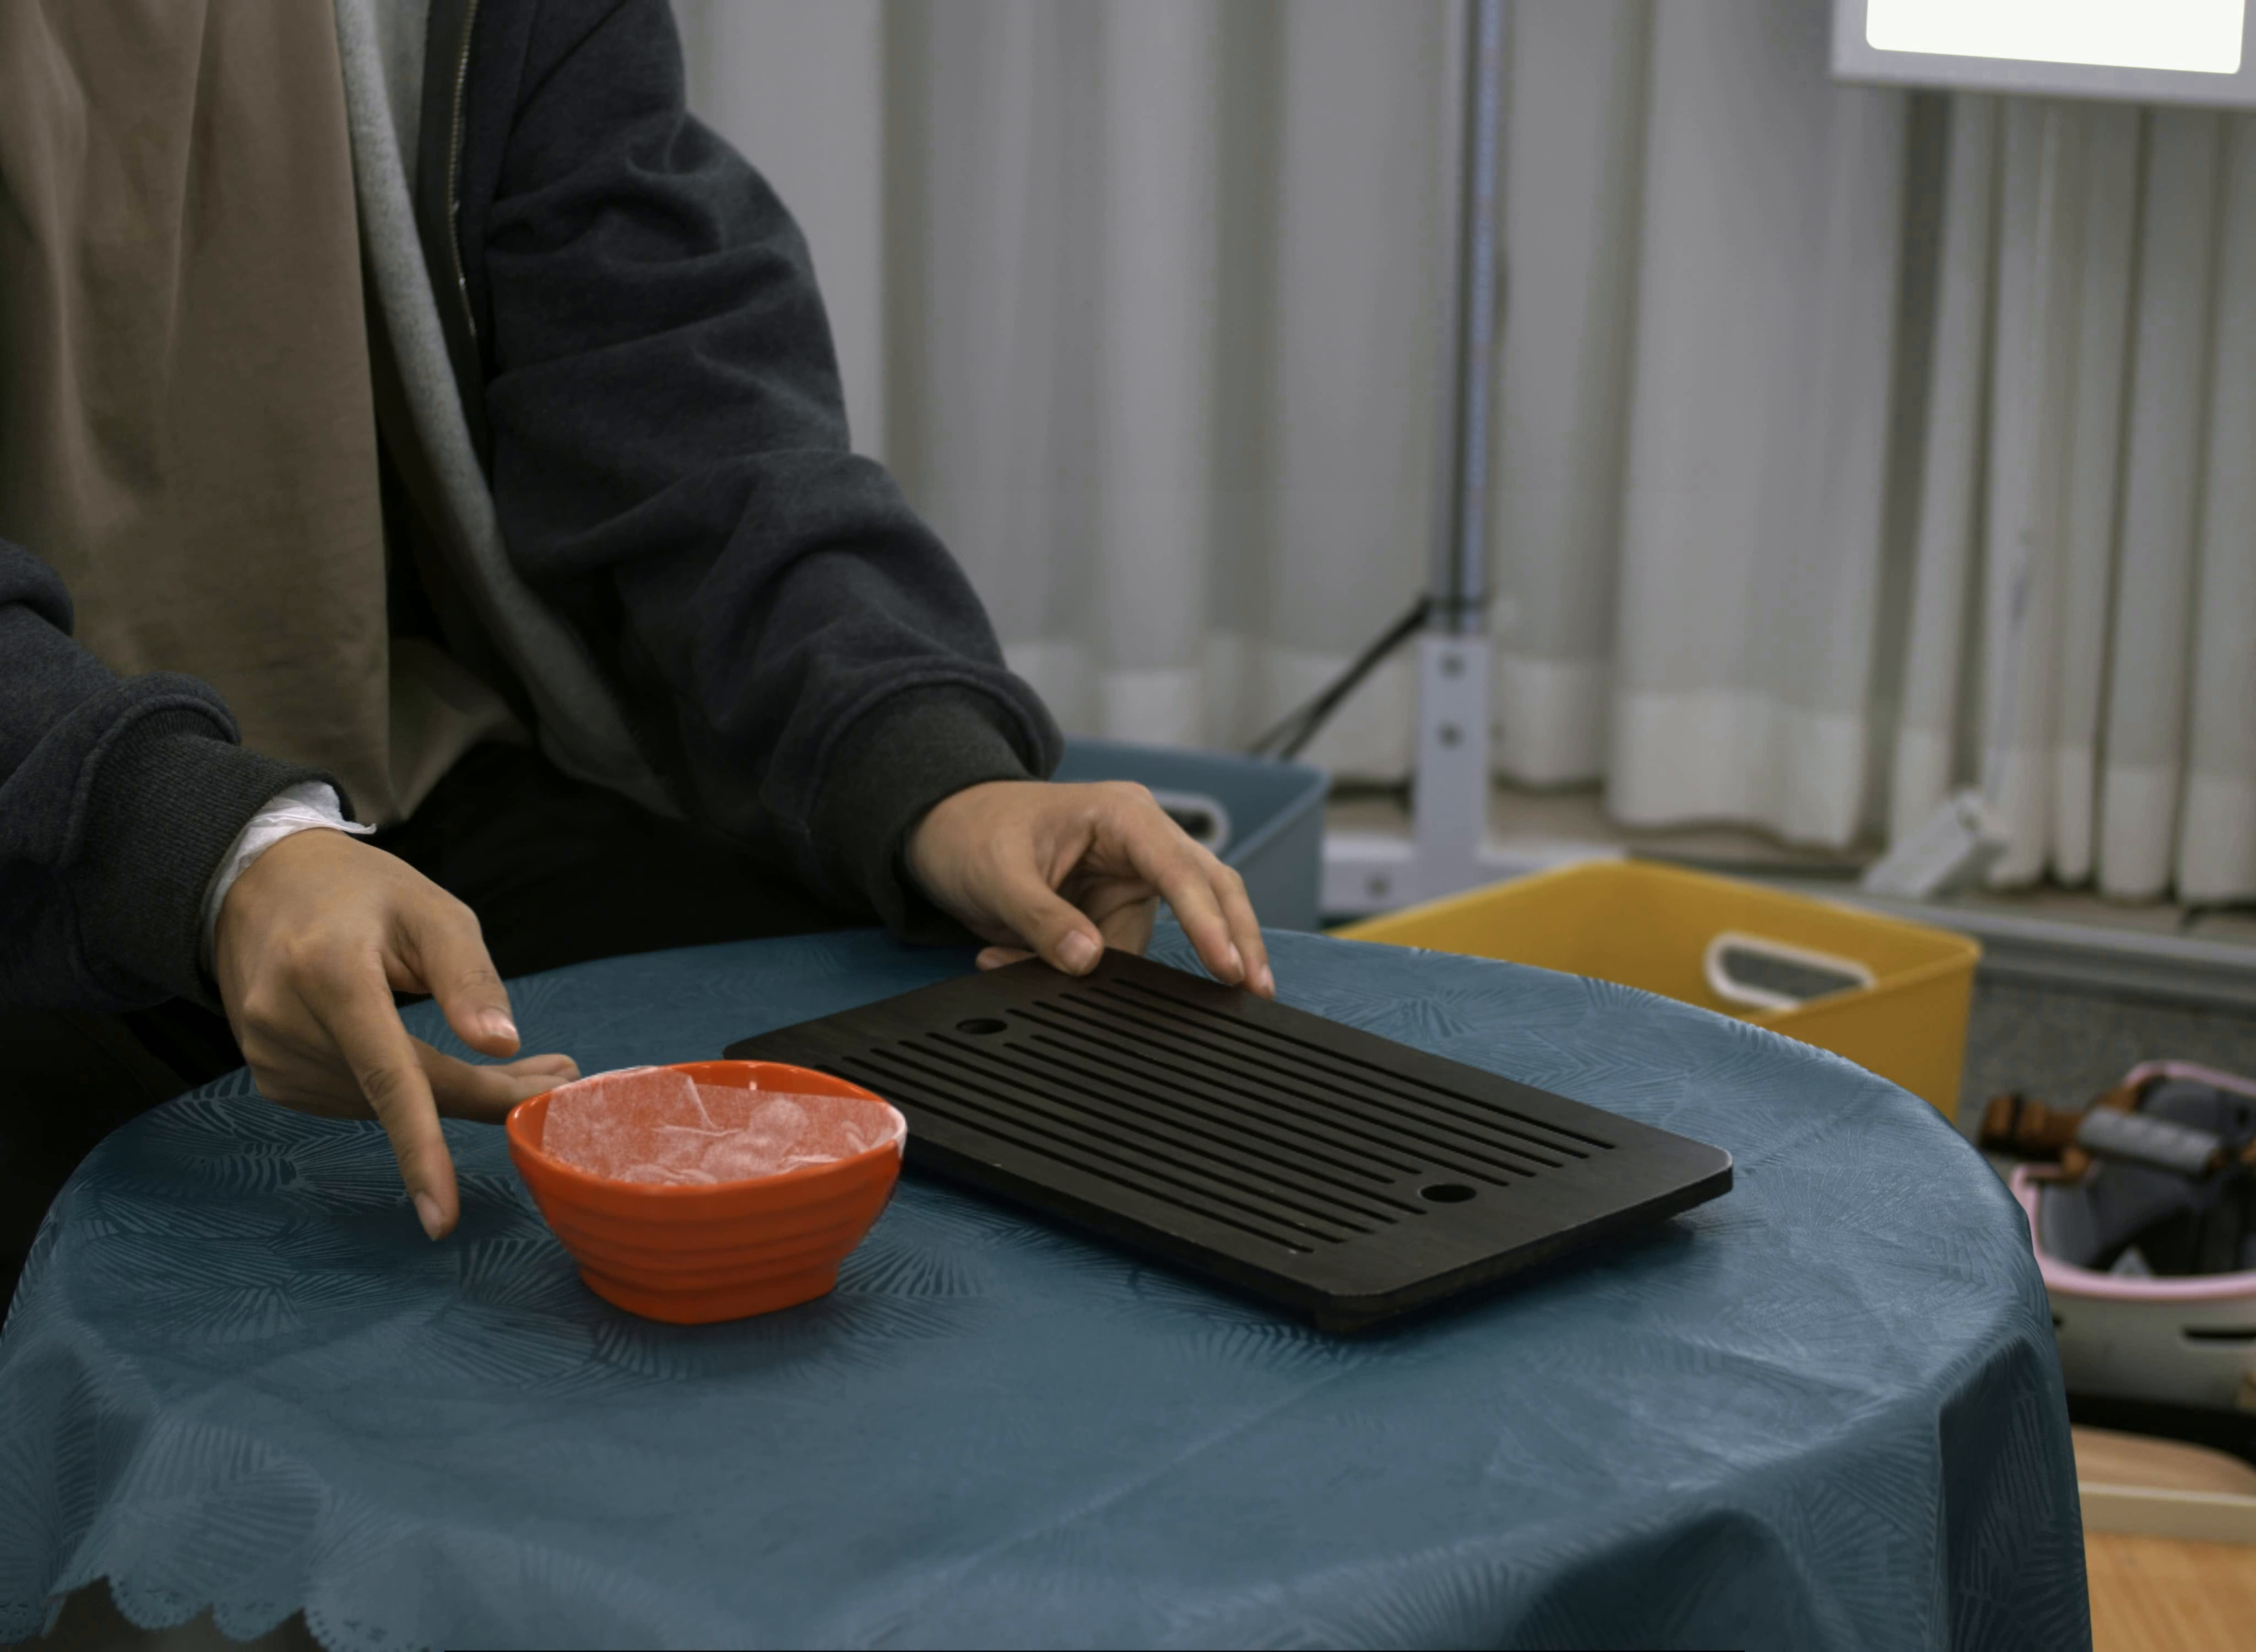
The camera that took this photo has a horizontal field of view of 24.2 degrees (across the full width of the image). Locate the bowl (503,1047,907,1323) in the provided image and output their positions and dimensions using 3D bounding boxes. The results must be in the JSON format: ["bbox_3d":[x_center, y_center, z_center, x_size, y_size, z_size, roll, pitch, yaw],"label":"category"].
[{"bbox_3d":[-0.123,0.107,1.534,0.118,0.052,0.118,1,18,0],"label":"bowl"}]

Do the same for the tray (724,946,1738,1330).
[{"bbox_3d":[0.027,0.094,1.649,0.171,0.019,0.302,-15,22,-40],"label":"tray"}]
